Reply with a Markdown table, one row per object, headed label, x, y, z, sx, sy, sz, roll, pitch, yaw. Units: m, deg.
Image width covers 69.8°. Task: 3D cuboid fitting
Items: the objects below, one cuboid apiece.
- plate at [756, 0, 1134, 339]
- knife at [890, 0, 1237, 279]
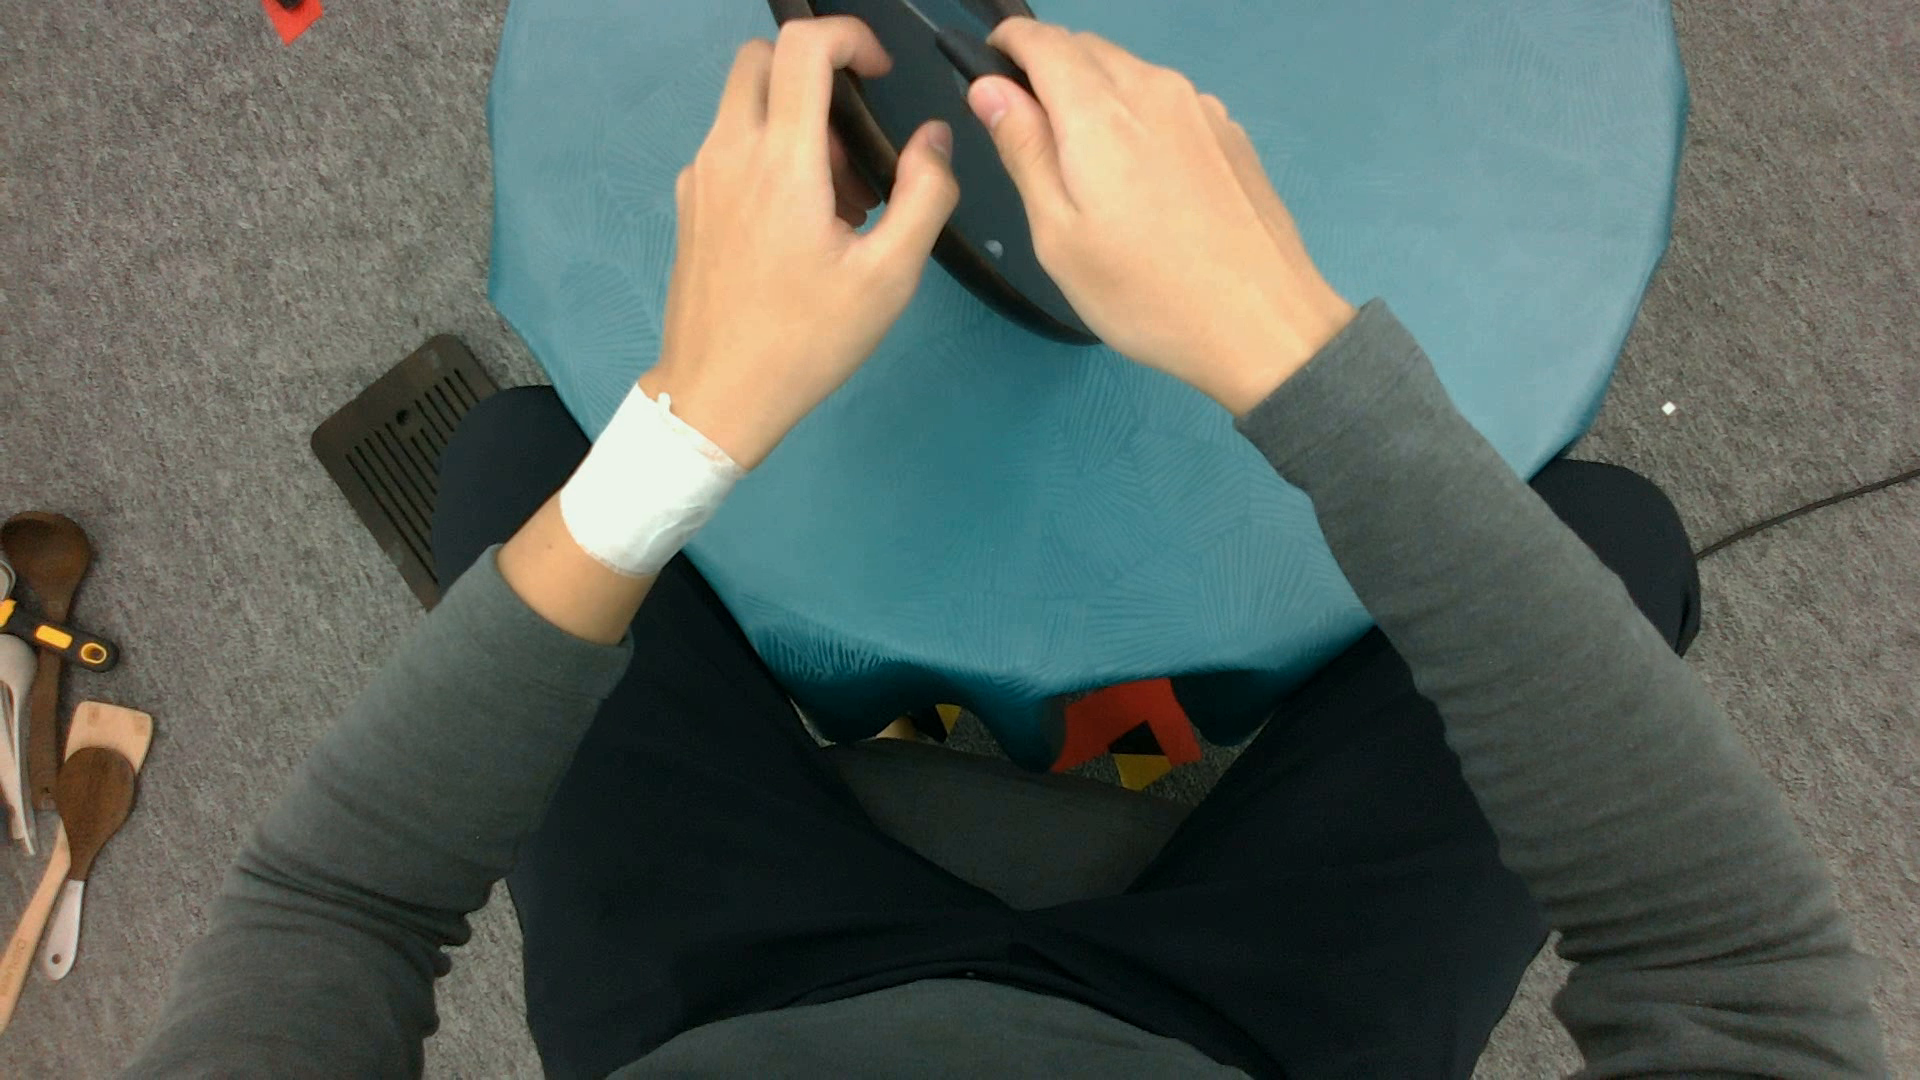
| label | x | y | z | sx | sy | sz | roll | pitch | yaw |
| --- | --- | --- | --- | --- | --- | --- | --- | --- | --- |
| plate | -0.005 | -0.196 | 0.590 | 0.029 | 0.255 | 0.255 | -29 | 81 | 26 |
| knife | -0.022 | -0.194 | 0.479 | 0.302 | 0.081 | 0.021 | 41 | 118 | -2 |
